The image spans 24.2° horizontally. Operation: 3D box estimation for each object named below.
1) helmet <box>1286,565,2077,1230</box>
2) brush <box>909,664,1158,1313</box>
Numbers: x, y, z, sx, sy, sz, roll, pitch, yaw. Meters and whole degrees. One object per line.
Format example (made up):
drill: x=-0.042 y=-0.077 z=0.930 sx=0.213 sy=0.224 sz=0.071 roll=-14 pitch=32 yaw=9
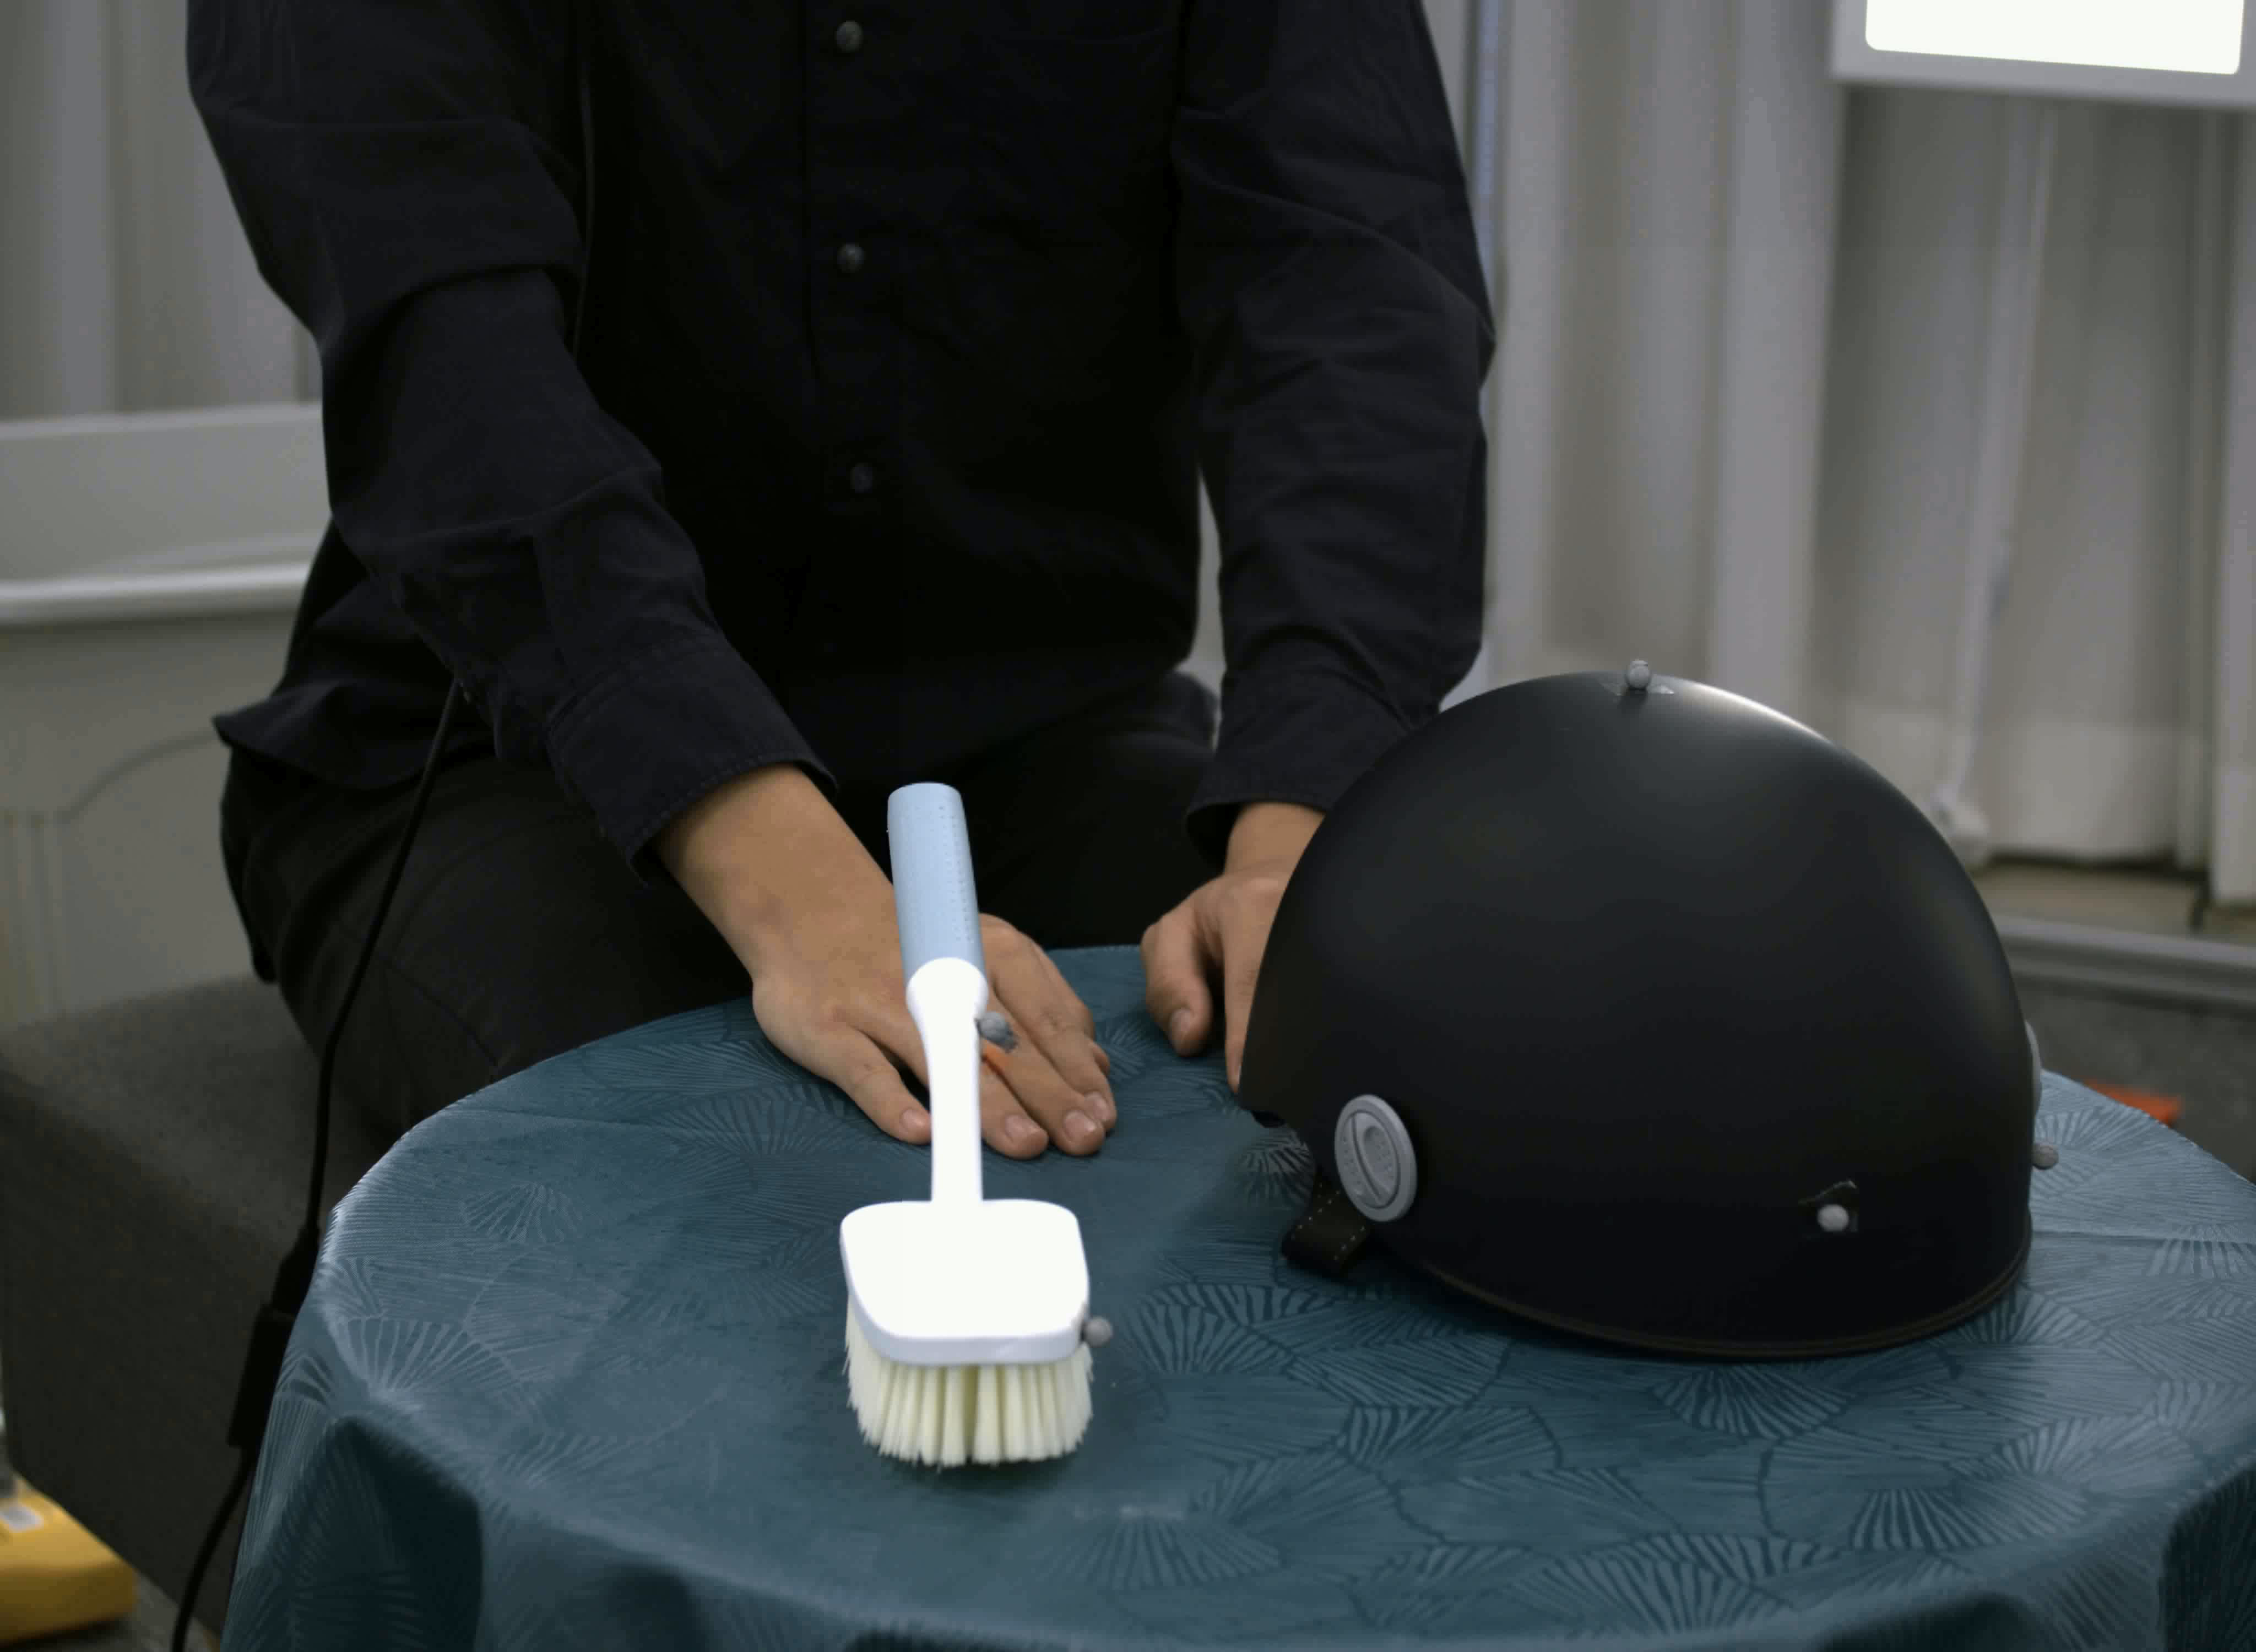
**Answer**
helmet: x=0.173 y=0.009 z=1.623 sx=0.230 sy=0.168 sz=0.270 roll=-6 pitch=19 yaw=-20
brush: x=-0.029 y=0.060 z=1.571 sx=0.084 sy=0.084 sz=0.322 roll=34 pitch=20 yaw=-20
